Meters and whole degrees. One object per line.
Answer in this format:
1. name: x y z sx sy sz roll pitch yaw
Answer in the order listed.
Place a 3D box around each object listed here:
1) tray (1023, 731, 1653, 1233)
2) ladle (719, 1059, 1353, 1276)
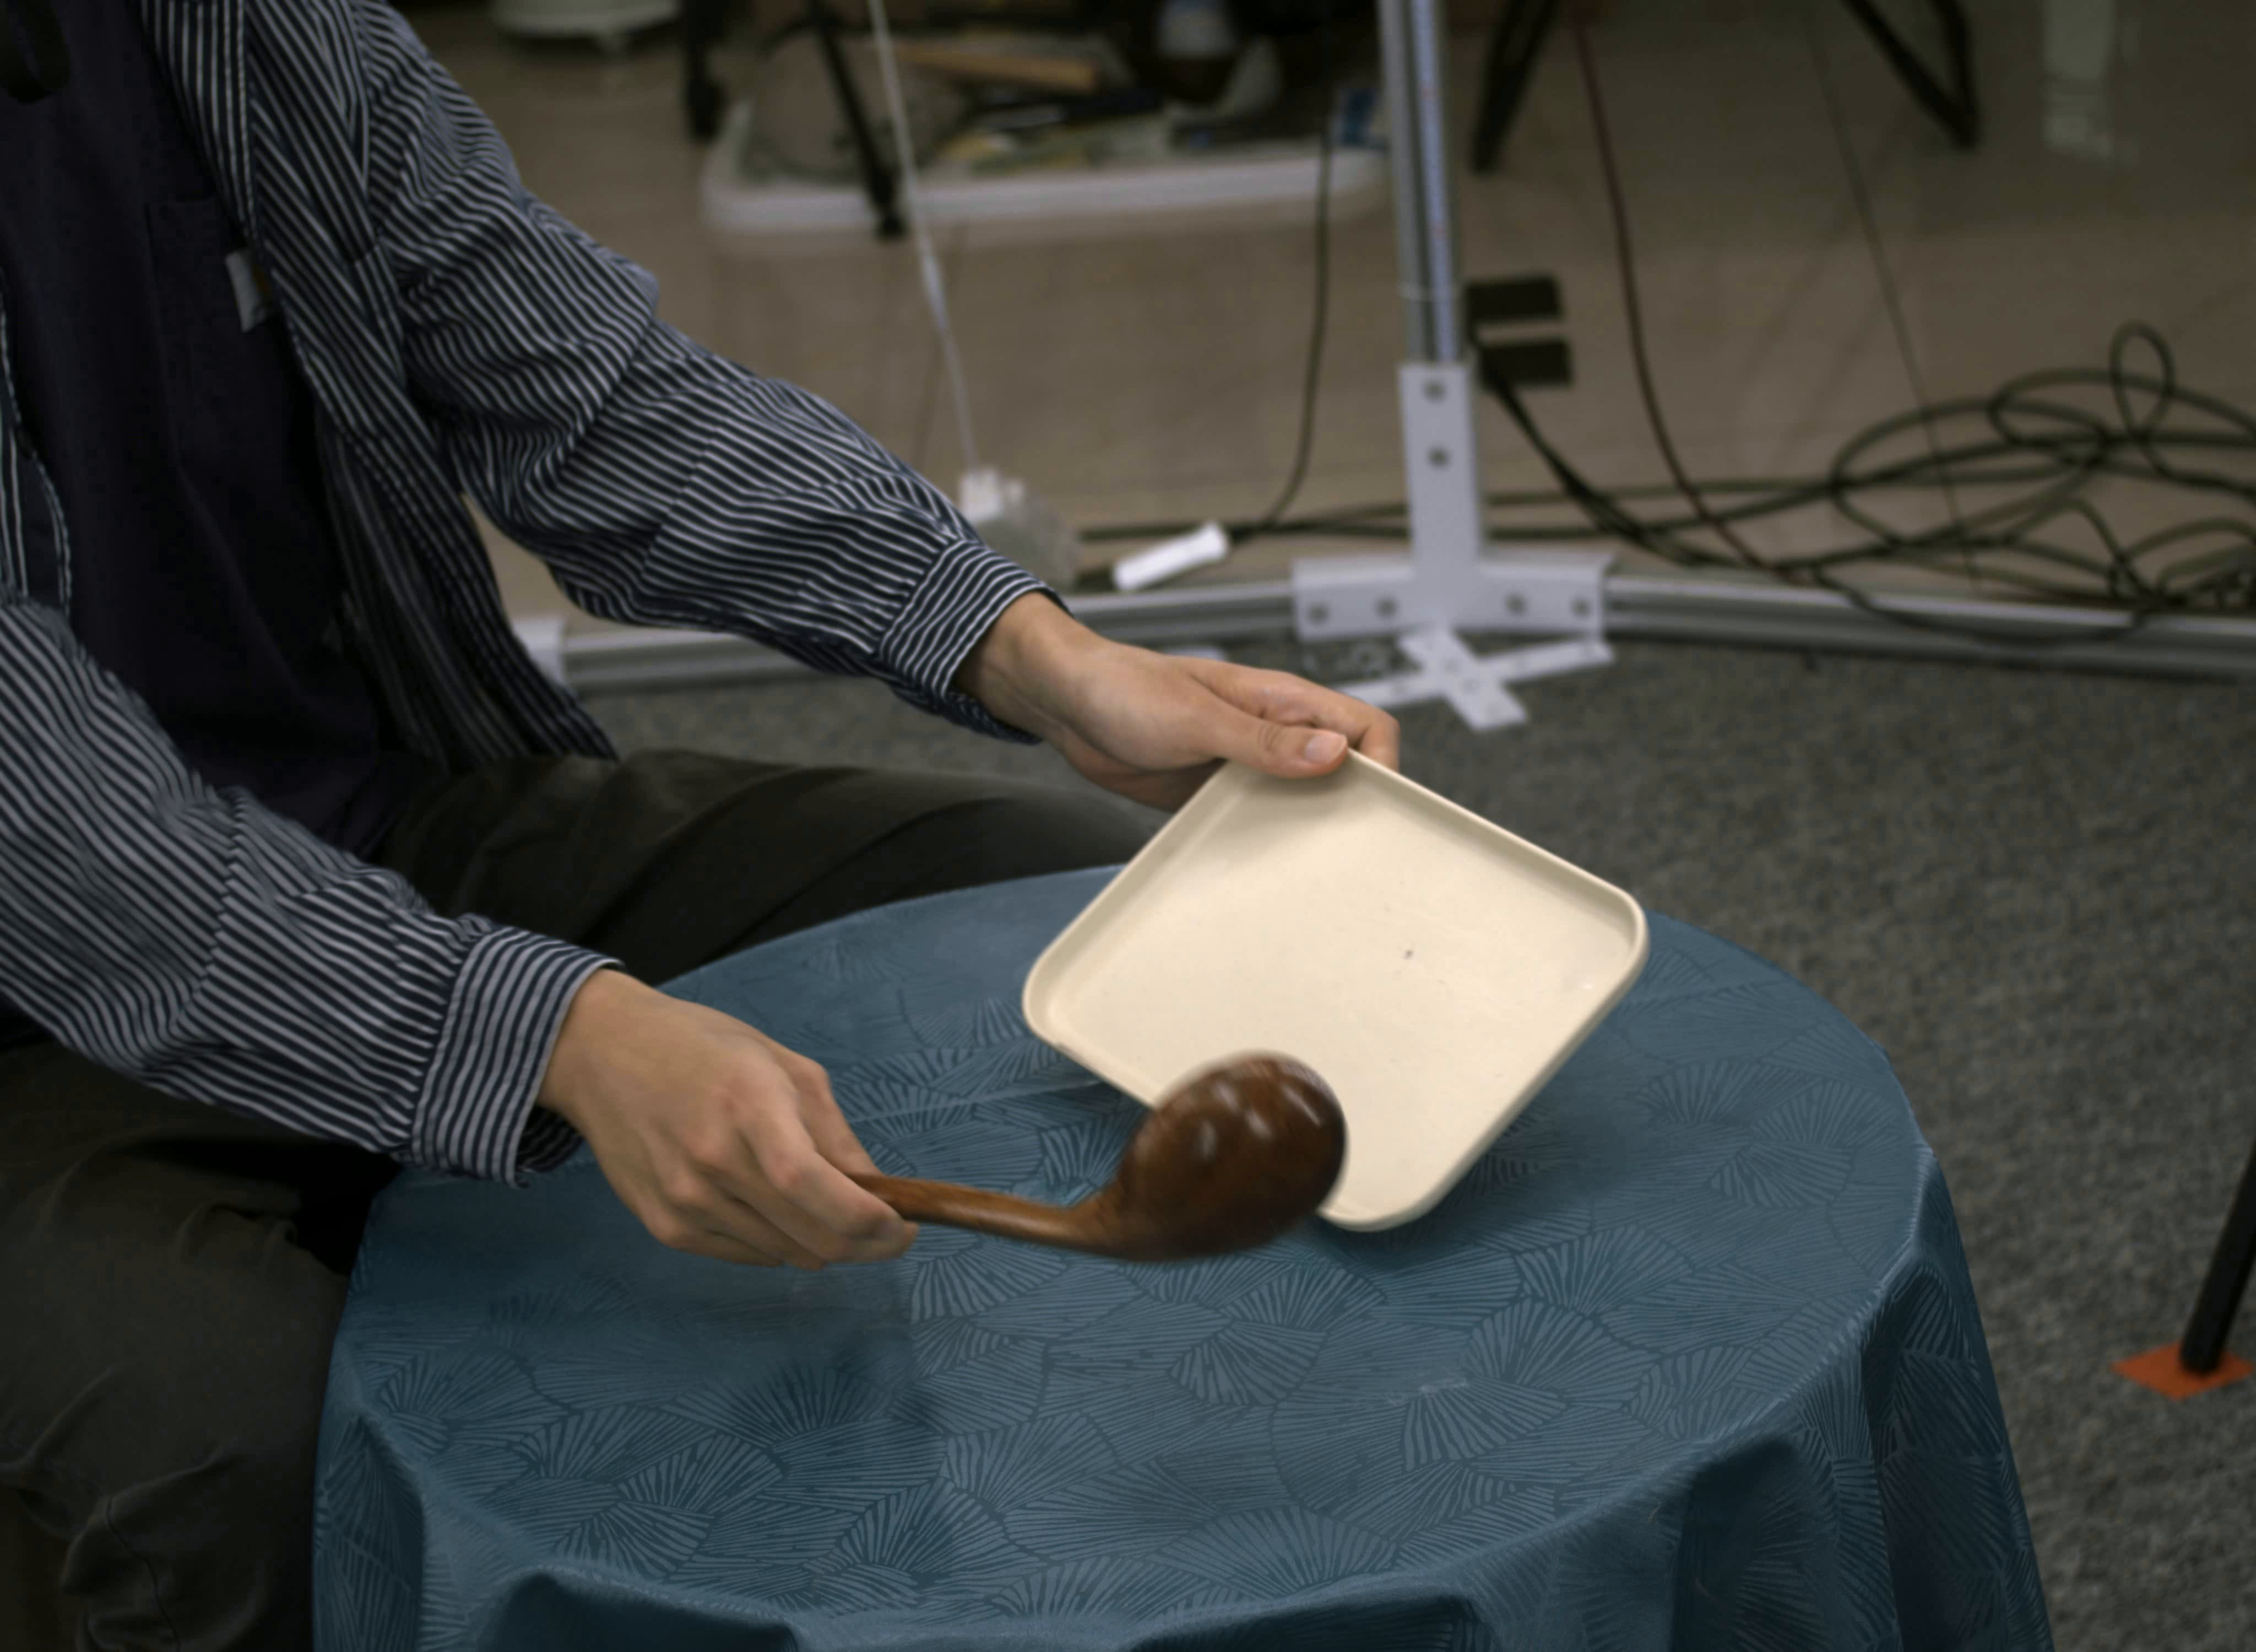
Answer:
1. tray: 0.079 0.059 2.172 0.170 0.018 0.237 -48 44 -13
2. ladle: -0.038 0.116 2.008 0.273 0.083 0.076 2 60 44
